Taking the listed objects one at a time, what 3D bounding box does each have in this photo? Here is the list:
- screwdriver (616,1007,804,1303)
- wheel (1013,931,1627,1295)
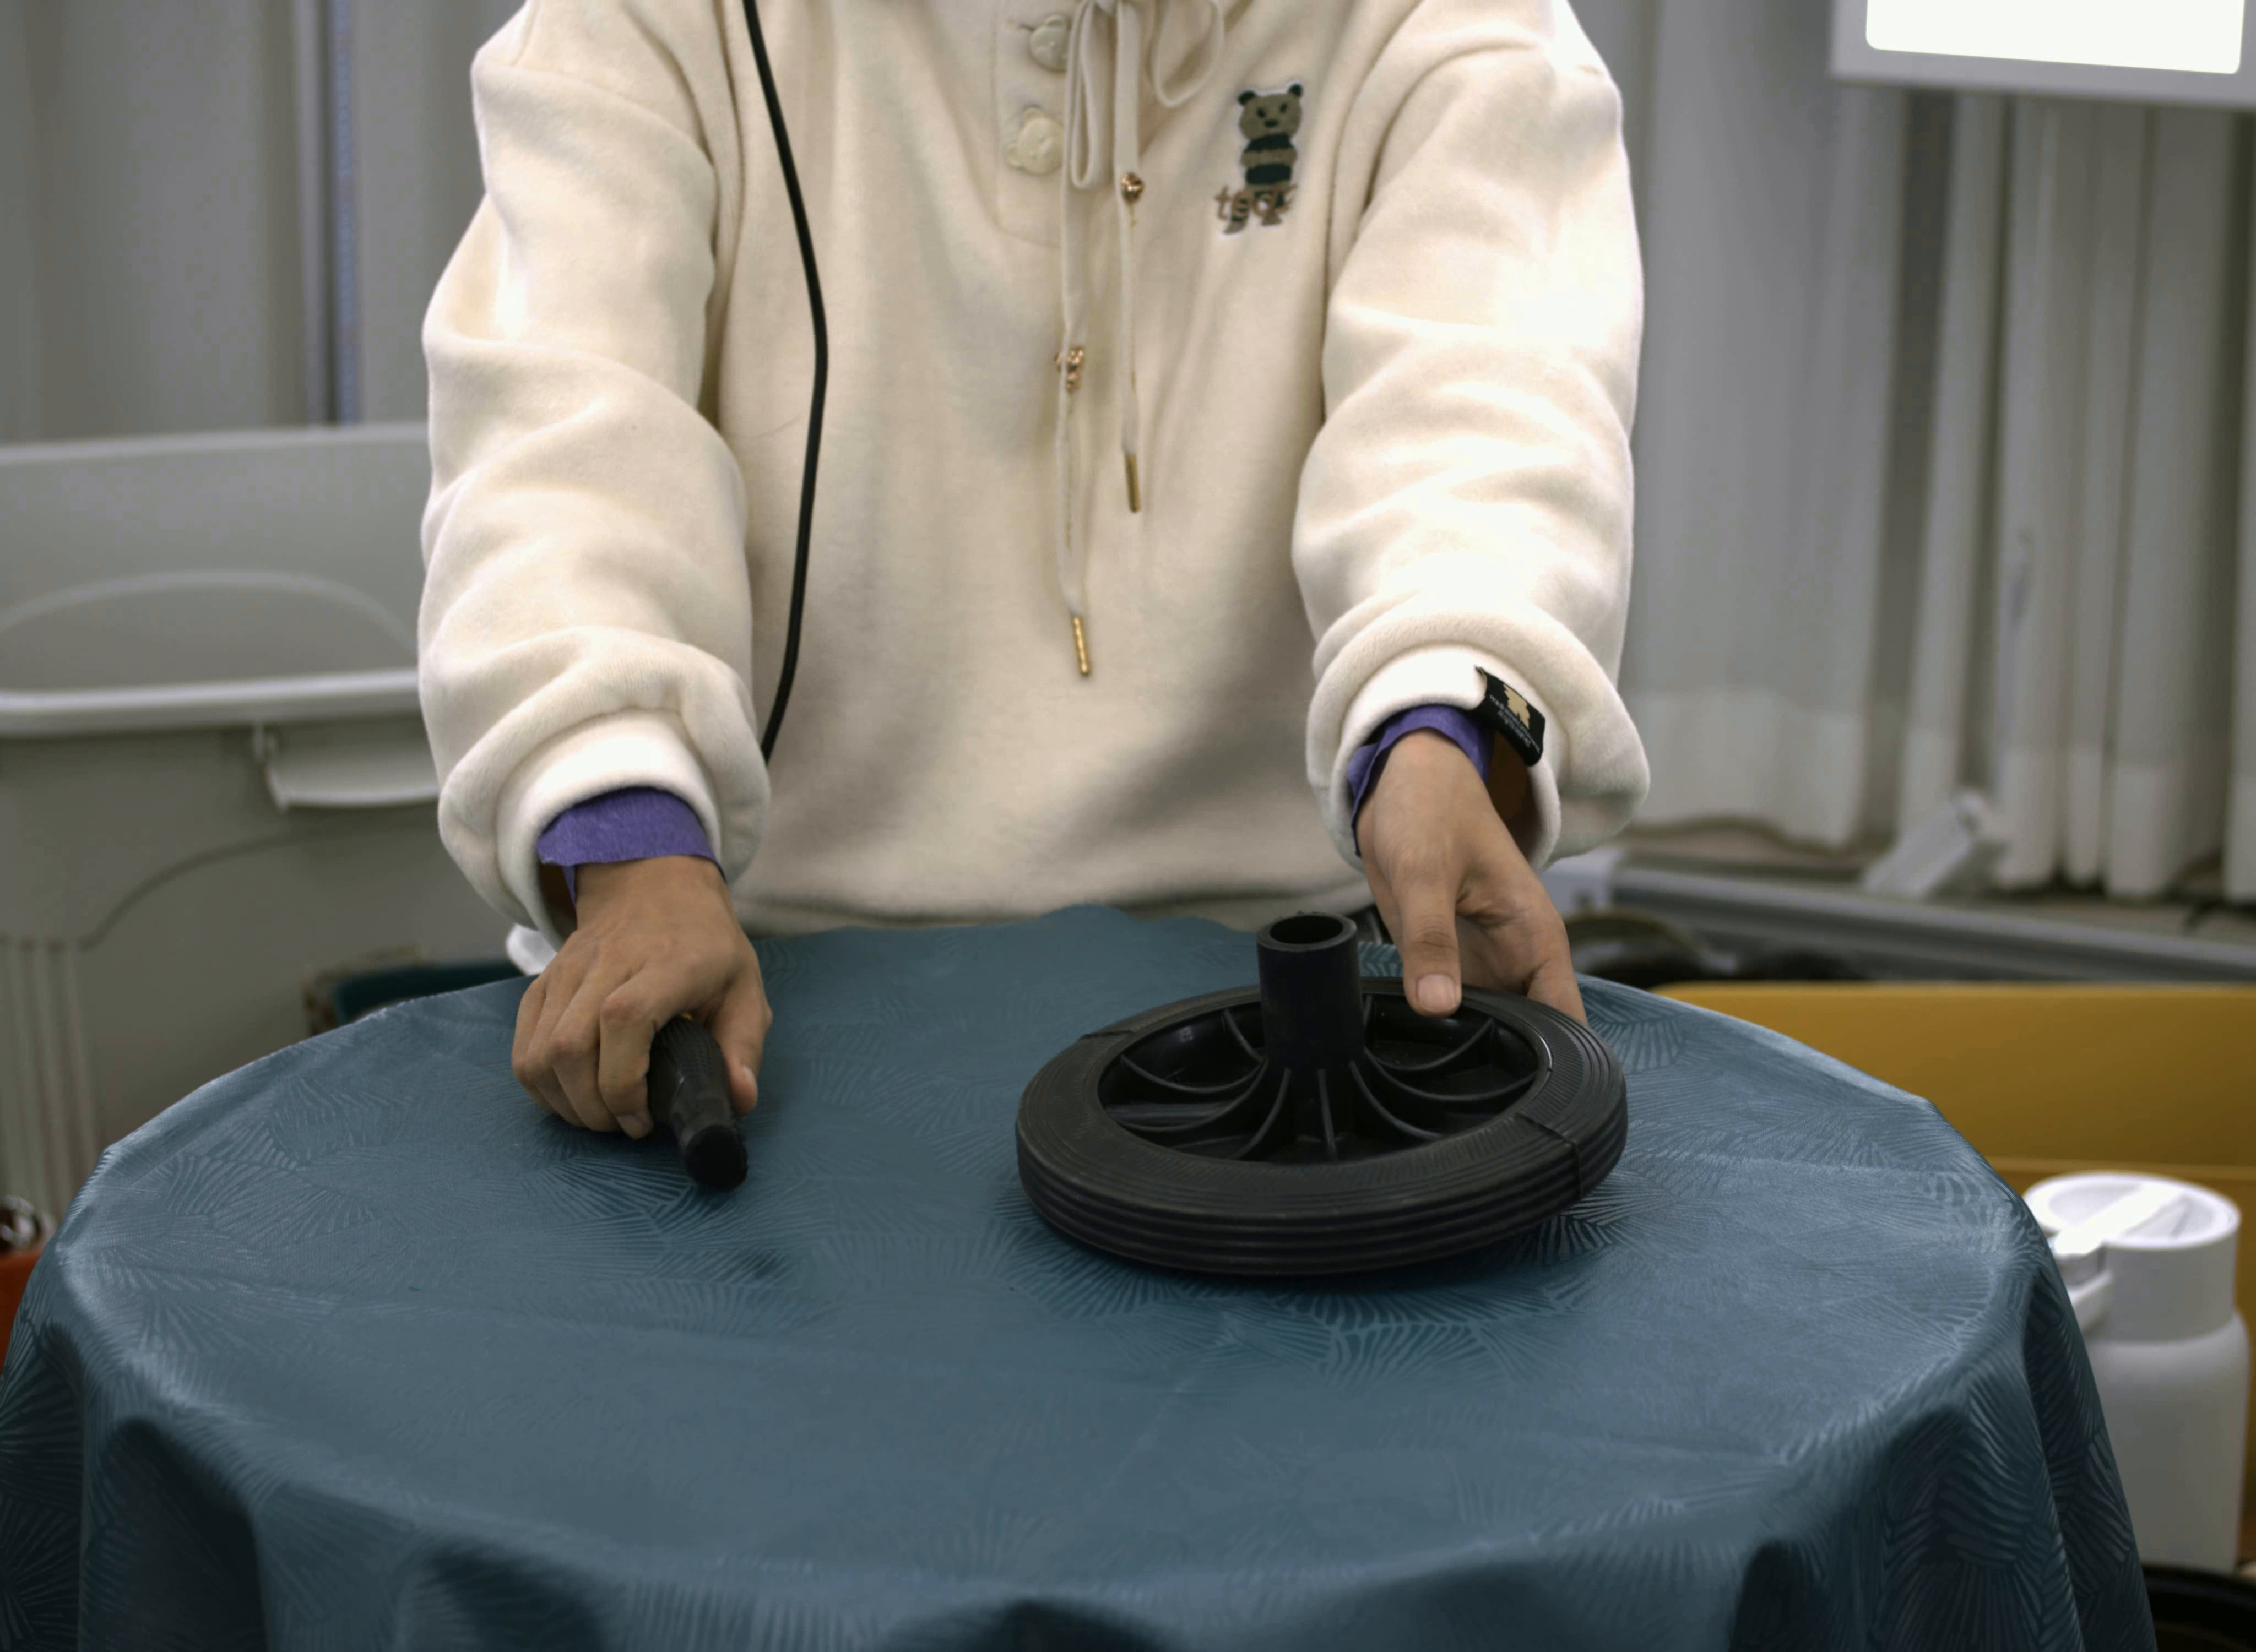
[{"bbox_3d":[-0.128,0.101,1.605,0.031,0.032,0.195,-3,21,-14],"label":"screwdriver"},{"bbox_3d":[0.056,0.074,1.606,0.190,0.080,0.185,-13,22,-14],"label":"wheel"}]
